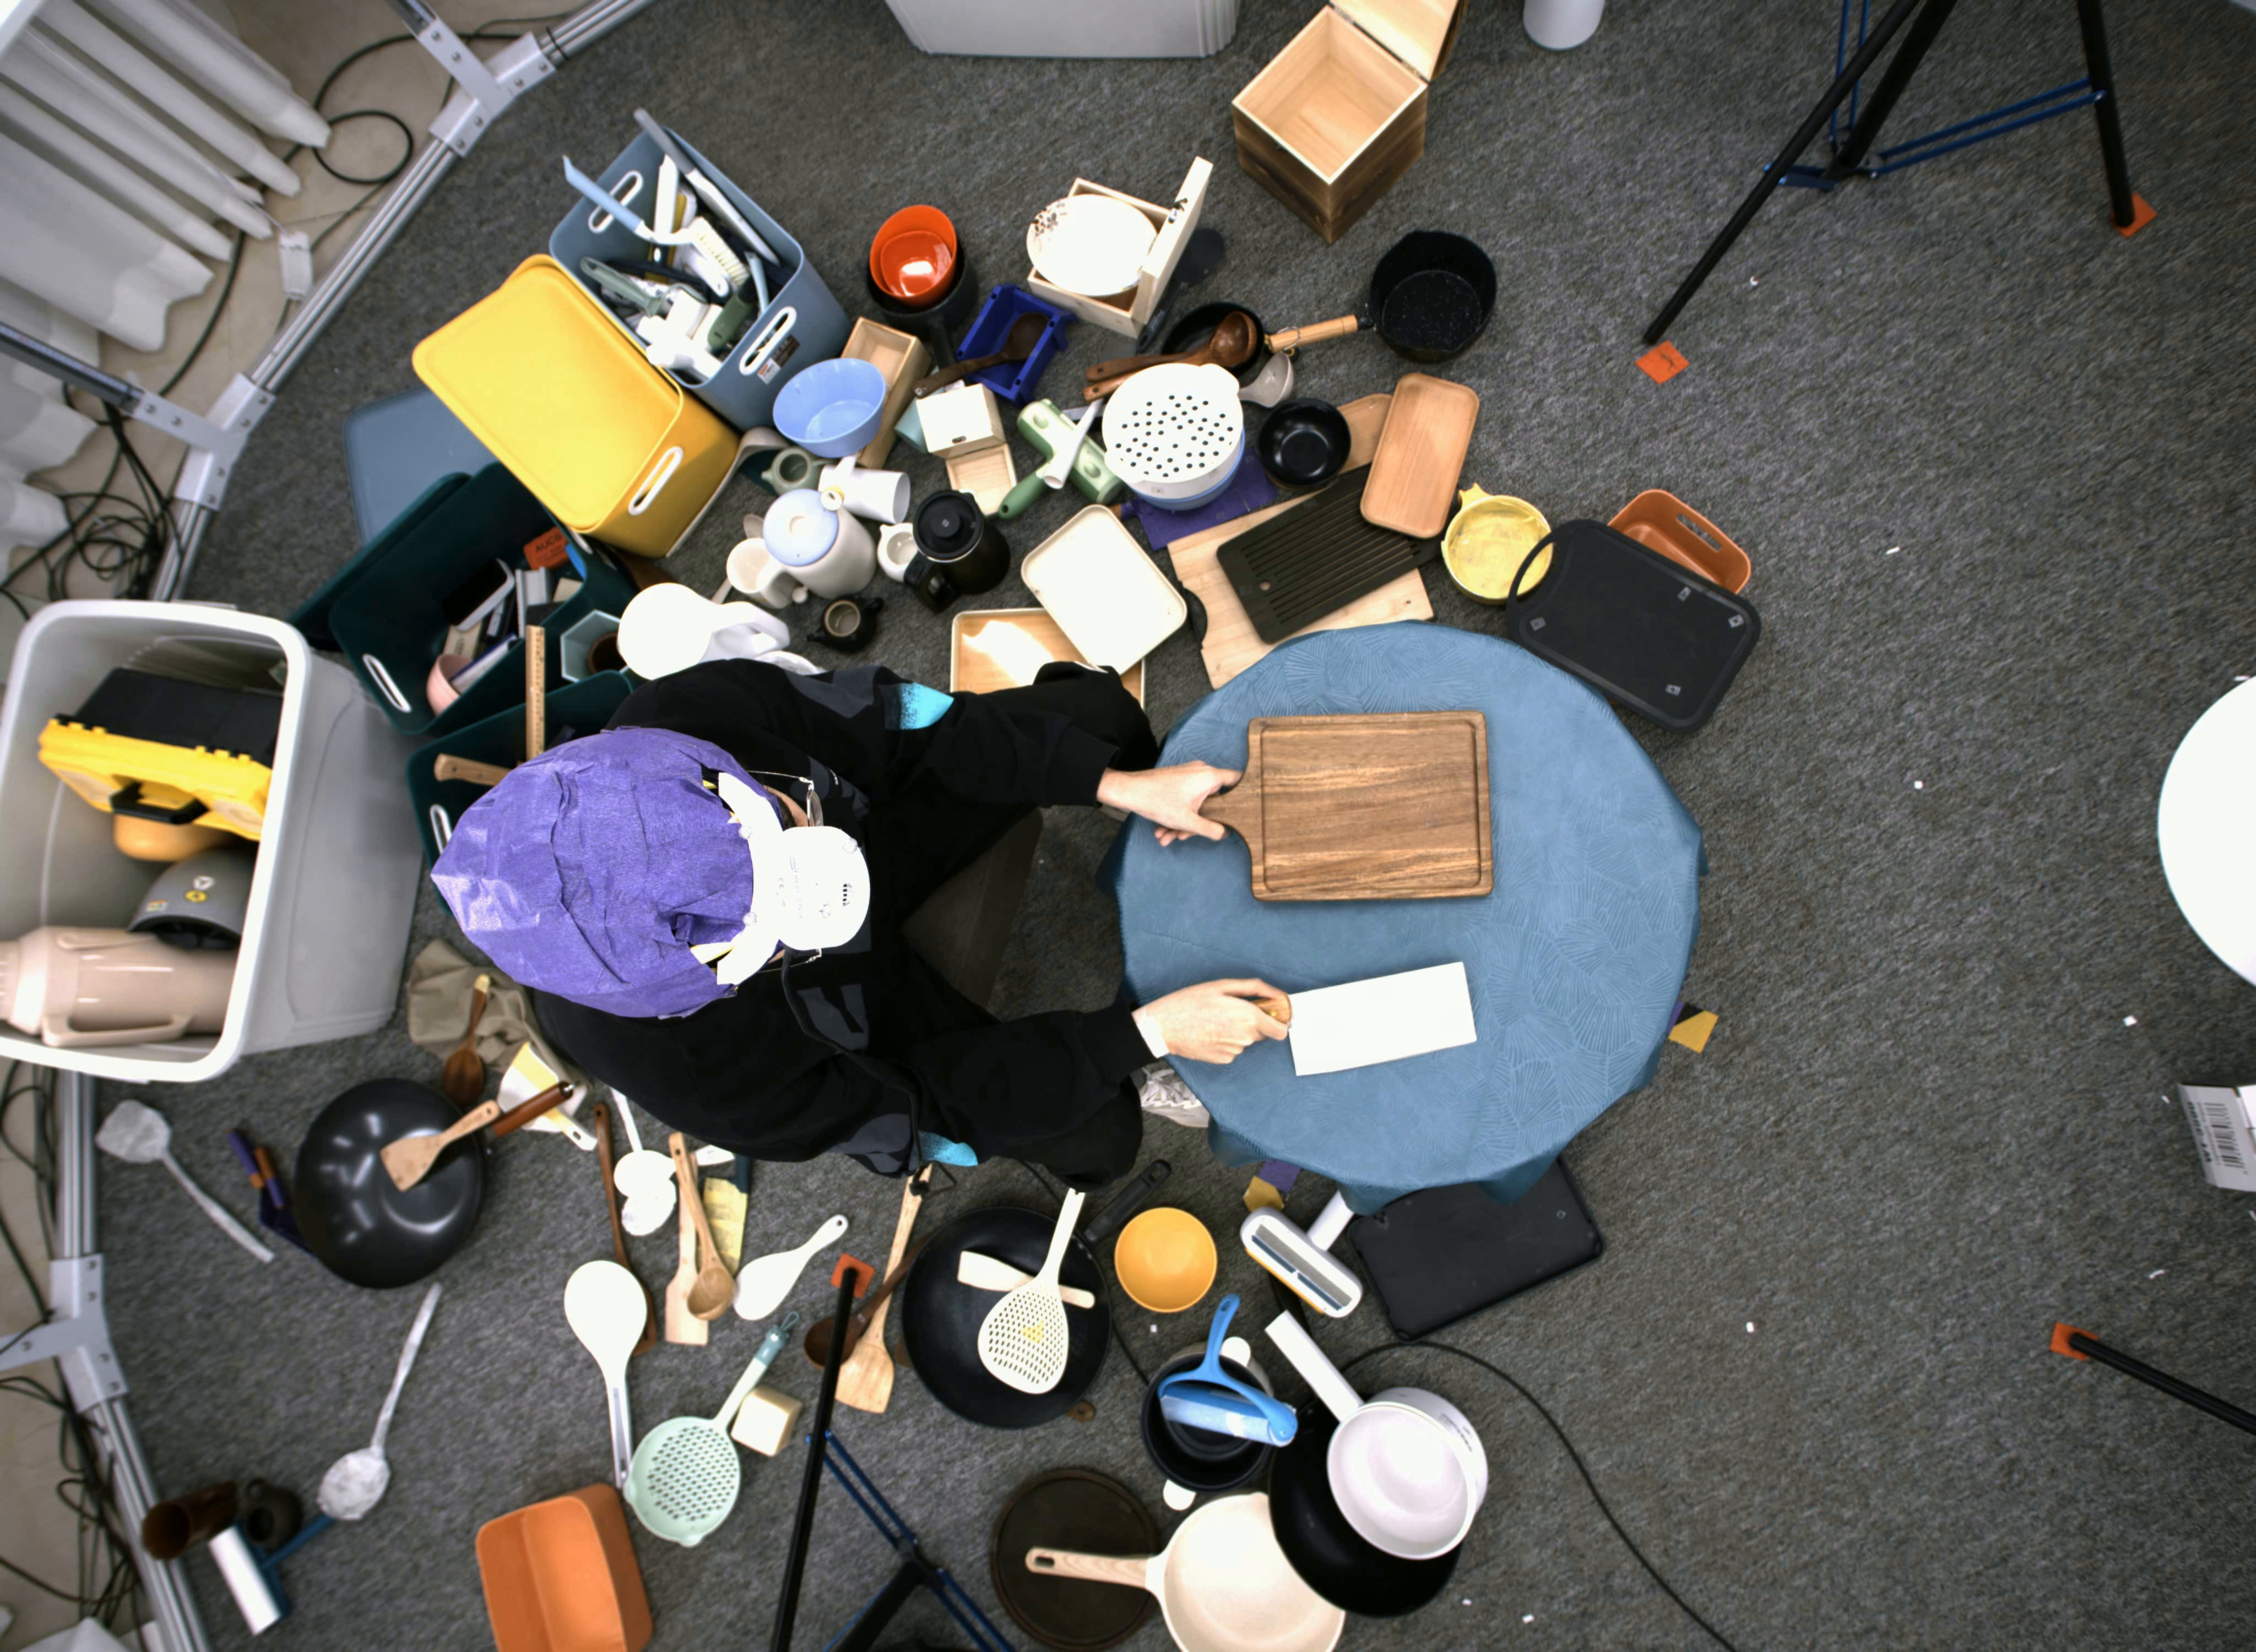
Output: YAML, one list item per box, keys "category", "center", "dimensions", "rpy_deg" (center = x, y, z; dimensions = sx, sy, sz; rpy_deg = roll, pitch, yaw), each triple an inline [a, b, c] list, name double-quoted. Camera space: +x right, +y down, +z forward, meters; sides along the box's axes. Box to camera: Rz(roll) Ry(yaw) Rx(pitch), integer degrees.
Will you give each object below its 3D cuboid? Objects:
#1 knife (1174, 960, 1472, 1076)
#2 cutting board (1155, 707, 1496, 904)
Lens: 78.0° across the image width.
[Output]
- category: "knife"
  center: [0.204, 0.210, 1.443]
  dimensions: [0.307, 0.021, 0.093]
  rpy_deg: [-12, 100, 6]
- category: "cutting board"
  center: [0.204, -0.021, 1.454]
  dimensions: [0.353, 0.023, 0.200]
  rpy_deg: [-2, 87, 6]
